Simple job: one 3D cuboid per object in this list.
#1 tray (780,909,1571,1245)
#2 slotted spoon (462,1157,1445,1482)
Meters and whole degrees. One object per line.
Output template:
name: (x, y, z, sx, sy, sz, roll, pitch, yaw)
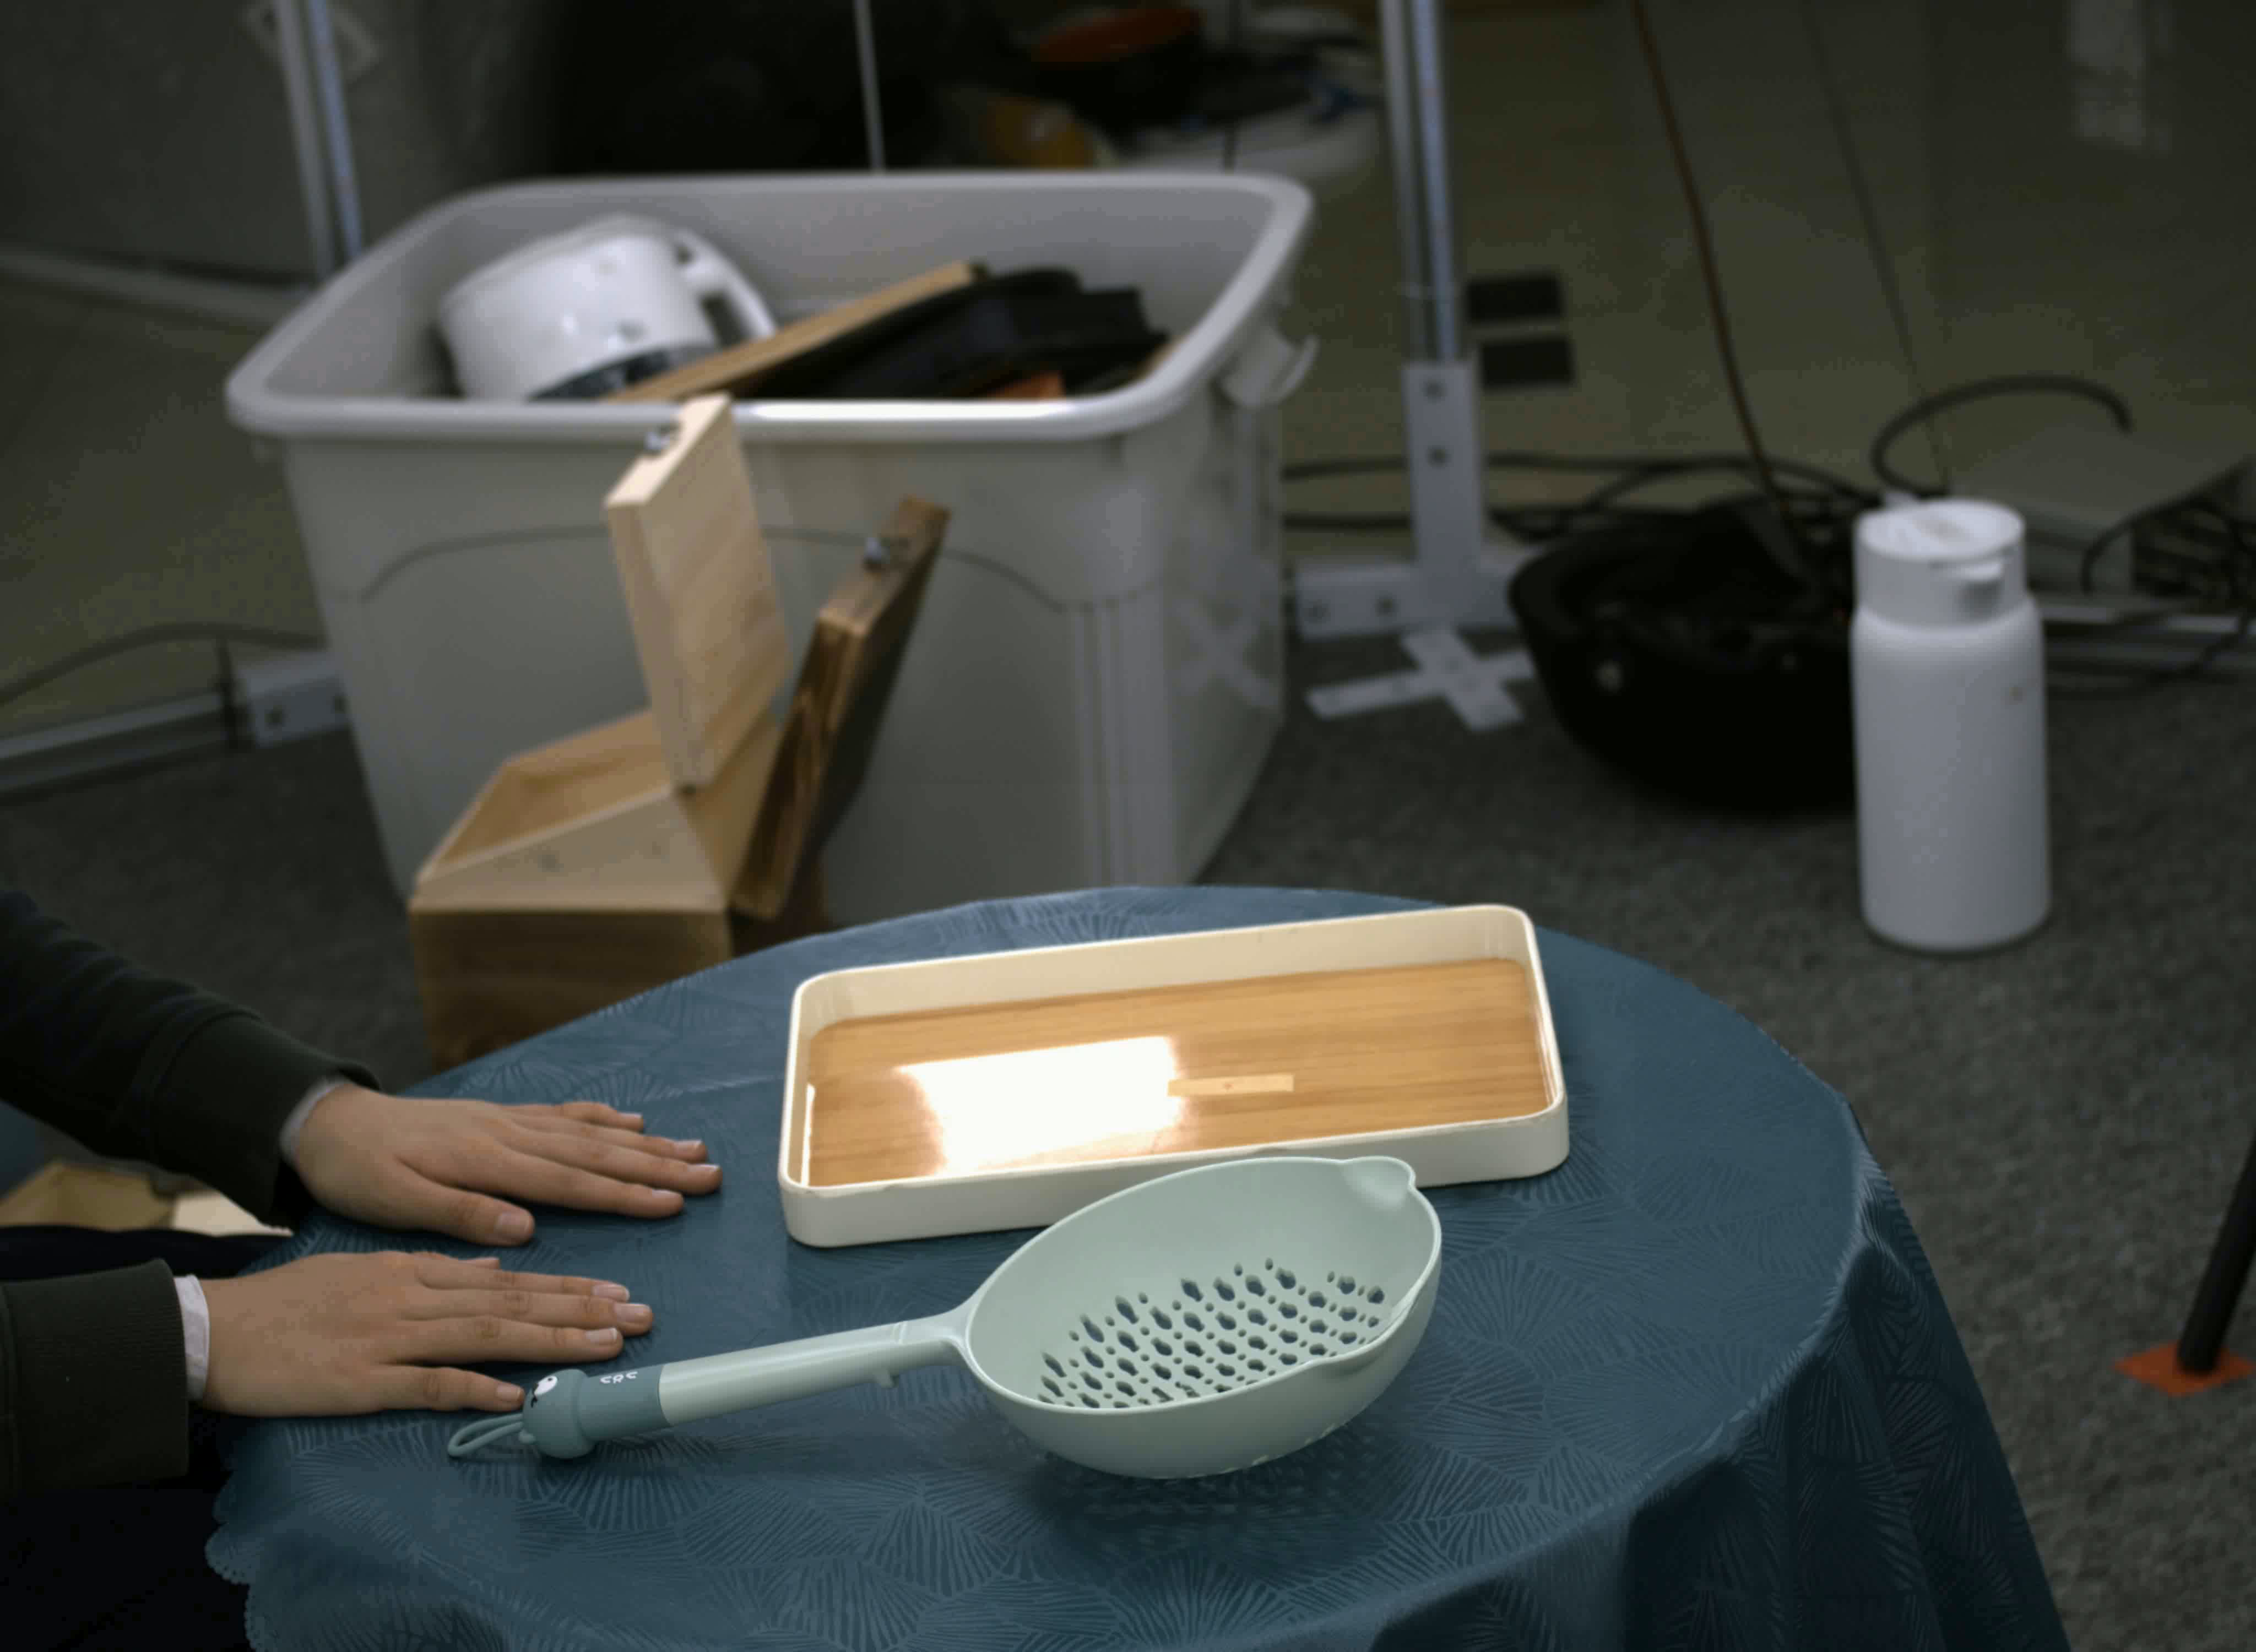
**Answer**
tray: (0.017, 0.096, 2.210, 0.300, 0.028, 0.189, -5, 25, 2)
slotted spoon: (-0.065, 0.186, 1.991, 0.358, 0.076, 0.167, -3, 25, 8)
